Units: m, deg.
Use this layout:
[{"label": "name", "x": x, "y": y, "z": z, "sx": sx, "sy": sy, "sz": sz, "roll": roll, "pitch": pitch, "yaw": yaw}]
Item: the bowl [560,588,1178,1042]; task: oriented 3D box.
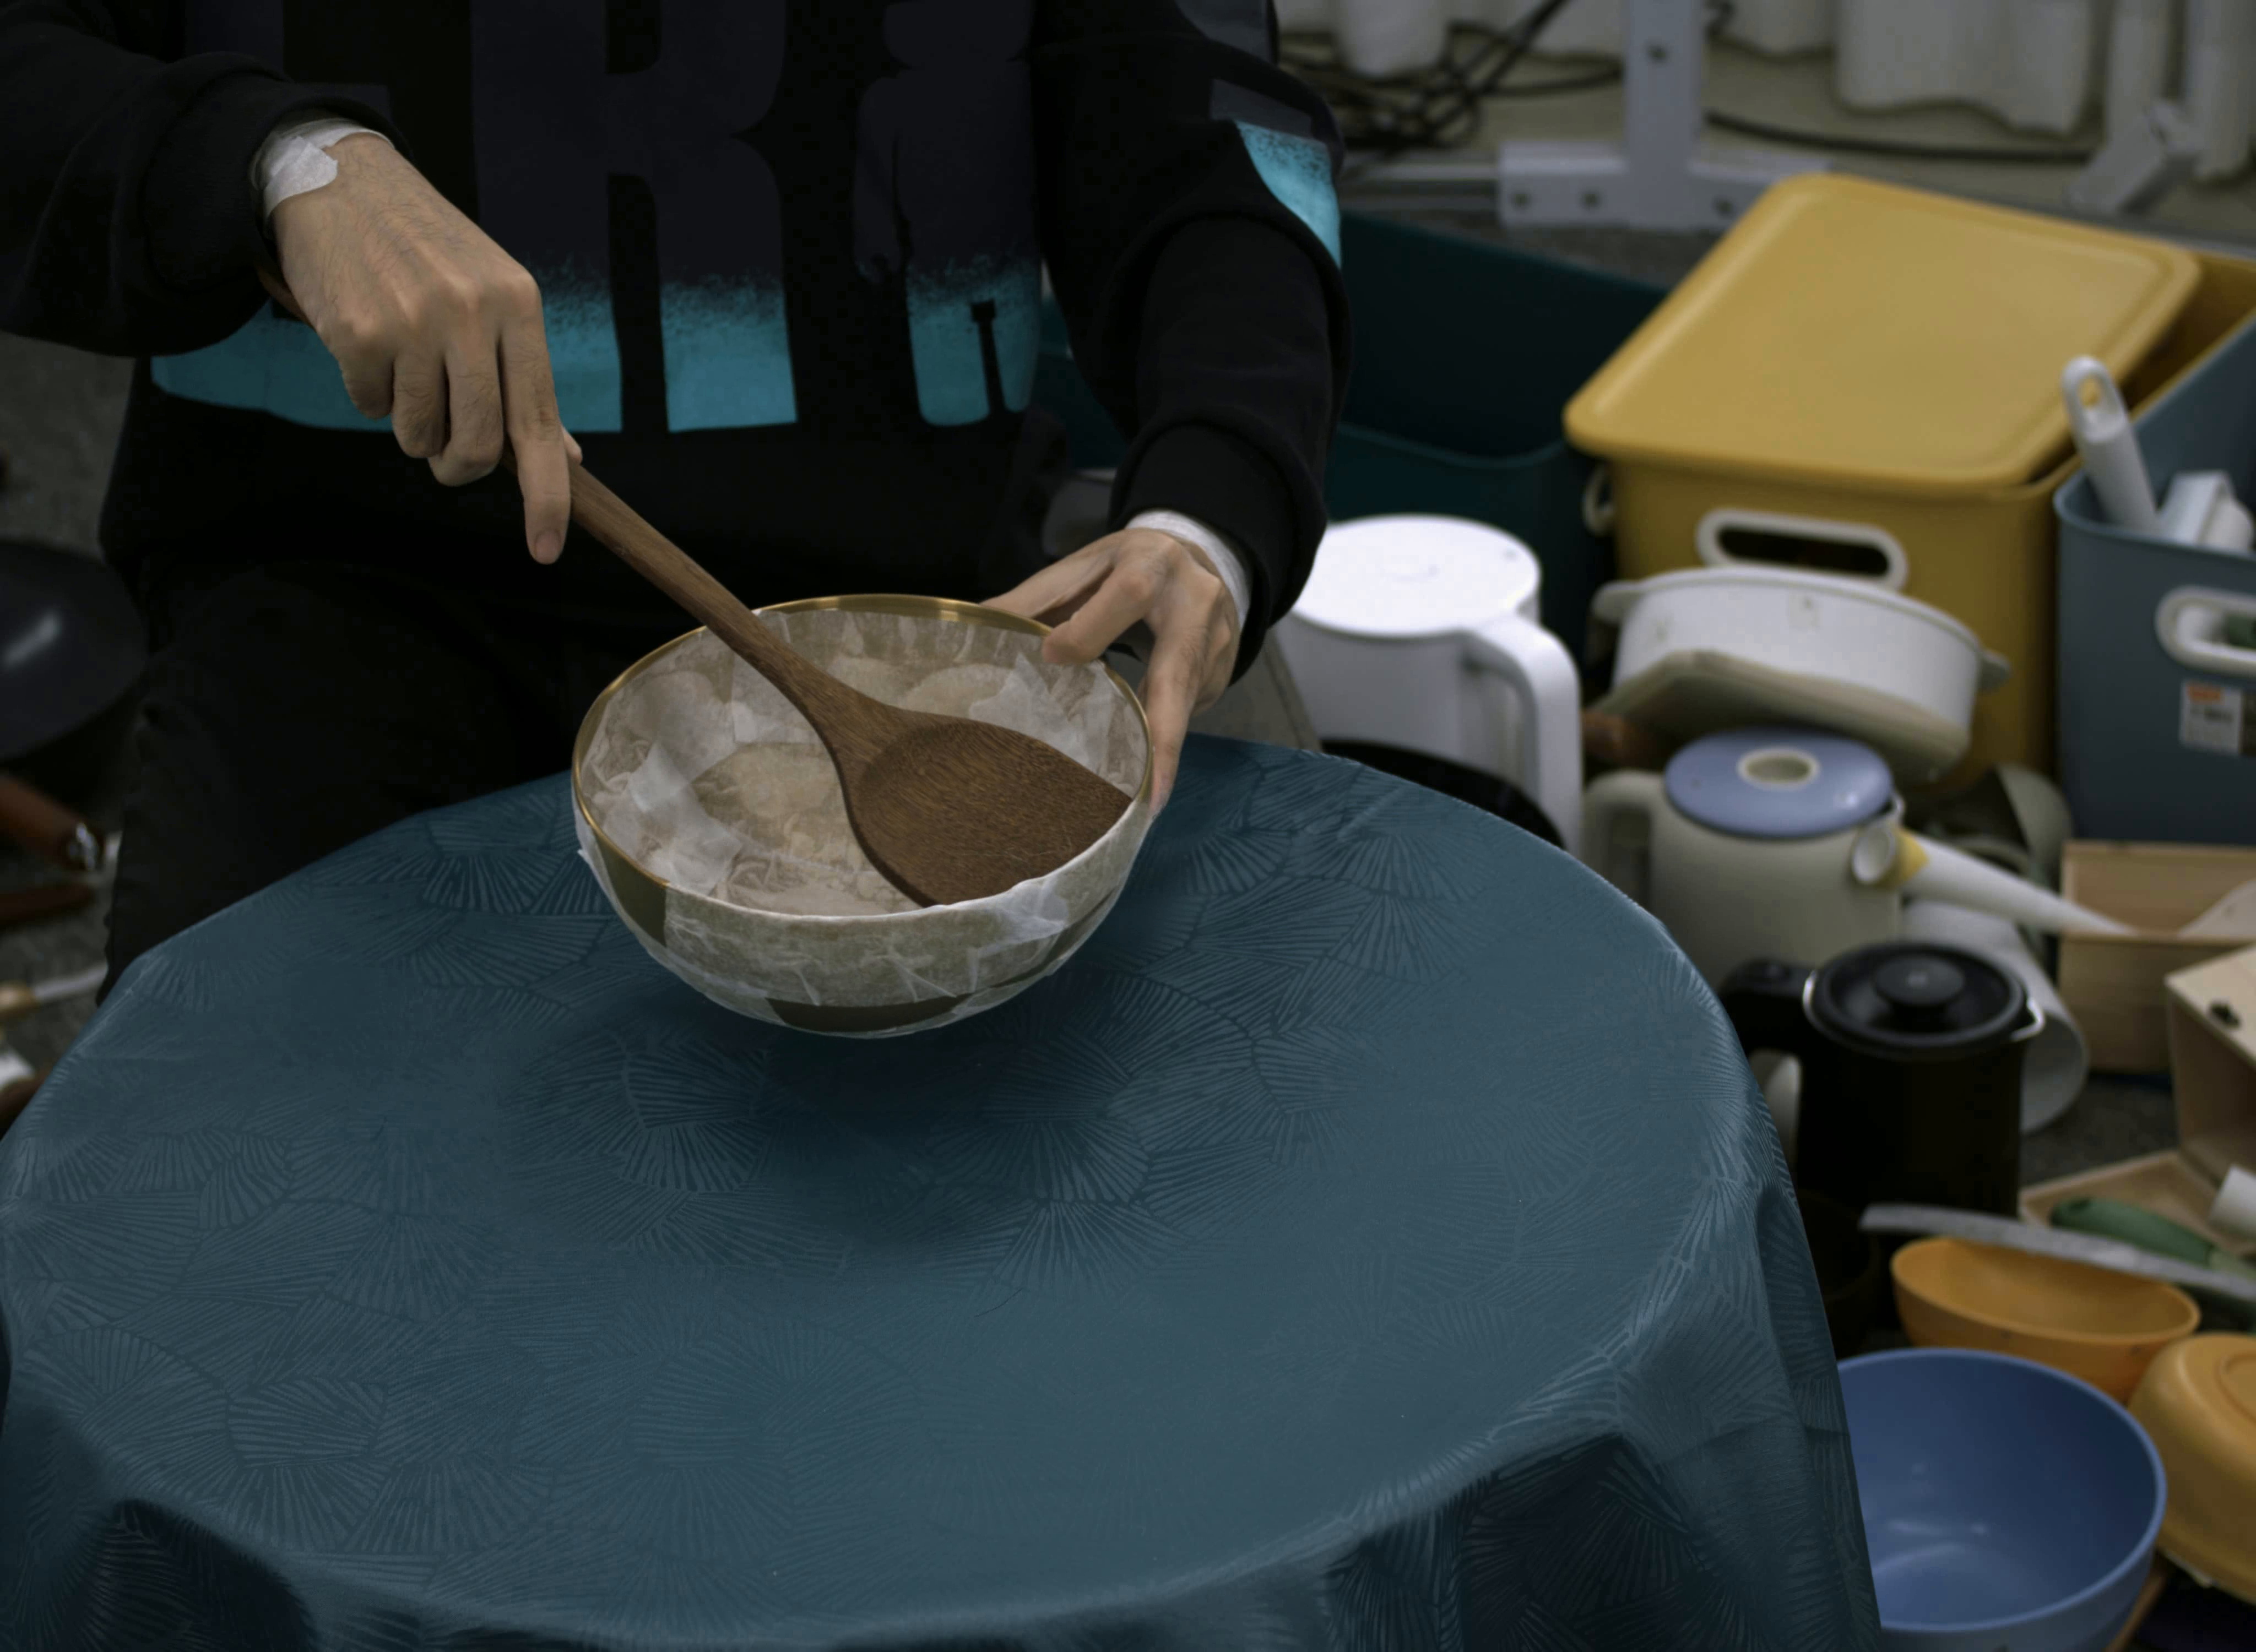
[{"label": "bowl", "x": -0.088, "y": 0.009, "z": 1.938, "sx": 0.213, "sy": 0.093, "sz": 0.218, "roll": -1, "pitch": 32, "yaw": 1}]

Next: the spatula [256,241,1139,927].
[{"label": "spatula", "x": -0.159, "y": -0.089, "z": 1.944, "sx": 0.386, "sy": 0.015, "sz": 0.097, "roll": 39, "pitch": 47, "yaw": 14}]
